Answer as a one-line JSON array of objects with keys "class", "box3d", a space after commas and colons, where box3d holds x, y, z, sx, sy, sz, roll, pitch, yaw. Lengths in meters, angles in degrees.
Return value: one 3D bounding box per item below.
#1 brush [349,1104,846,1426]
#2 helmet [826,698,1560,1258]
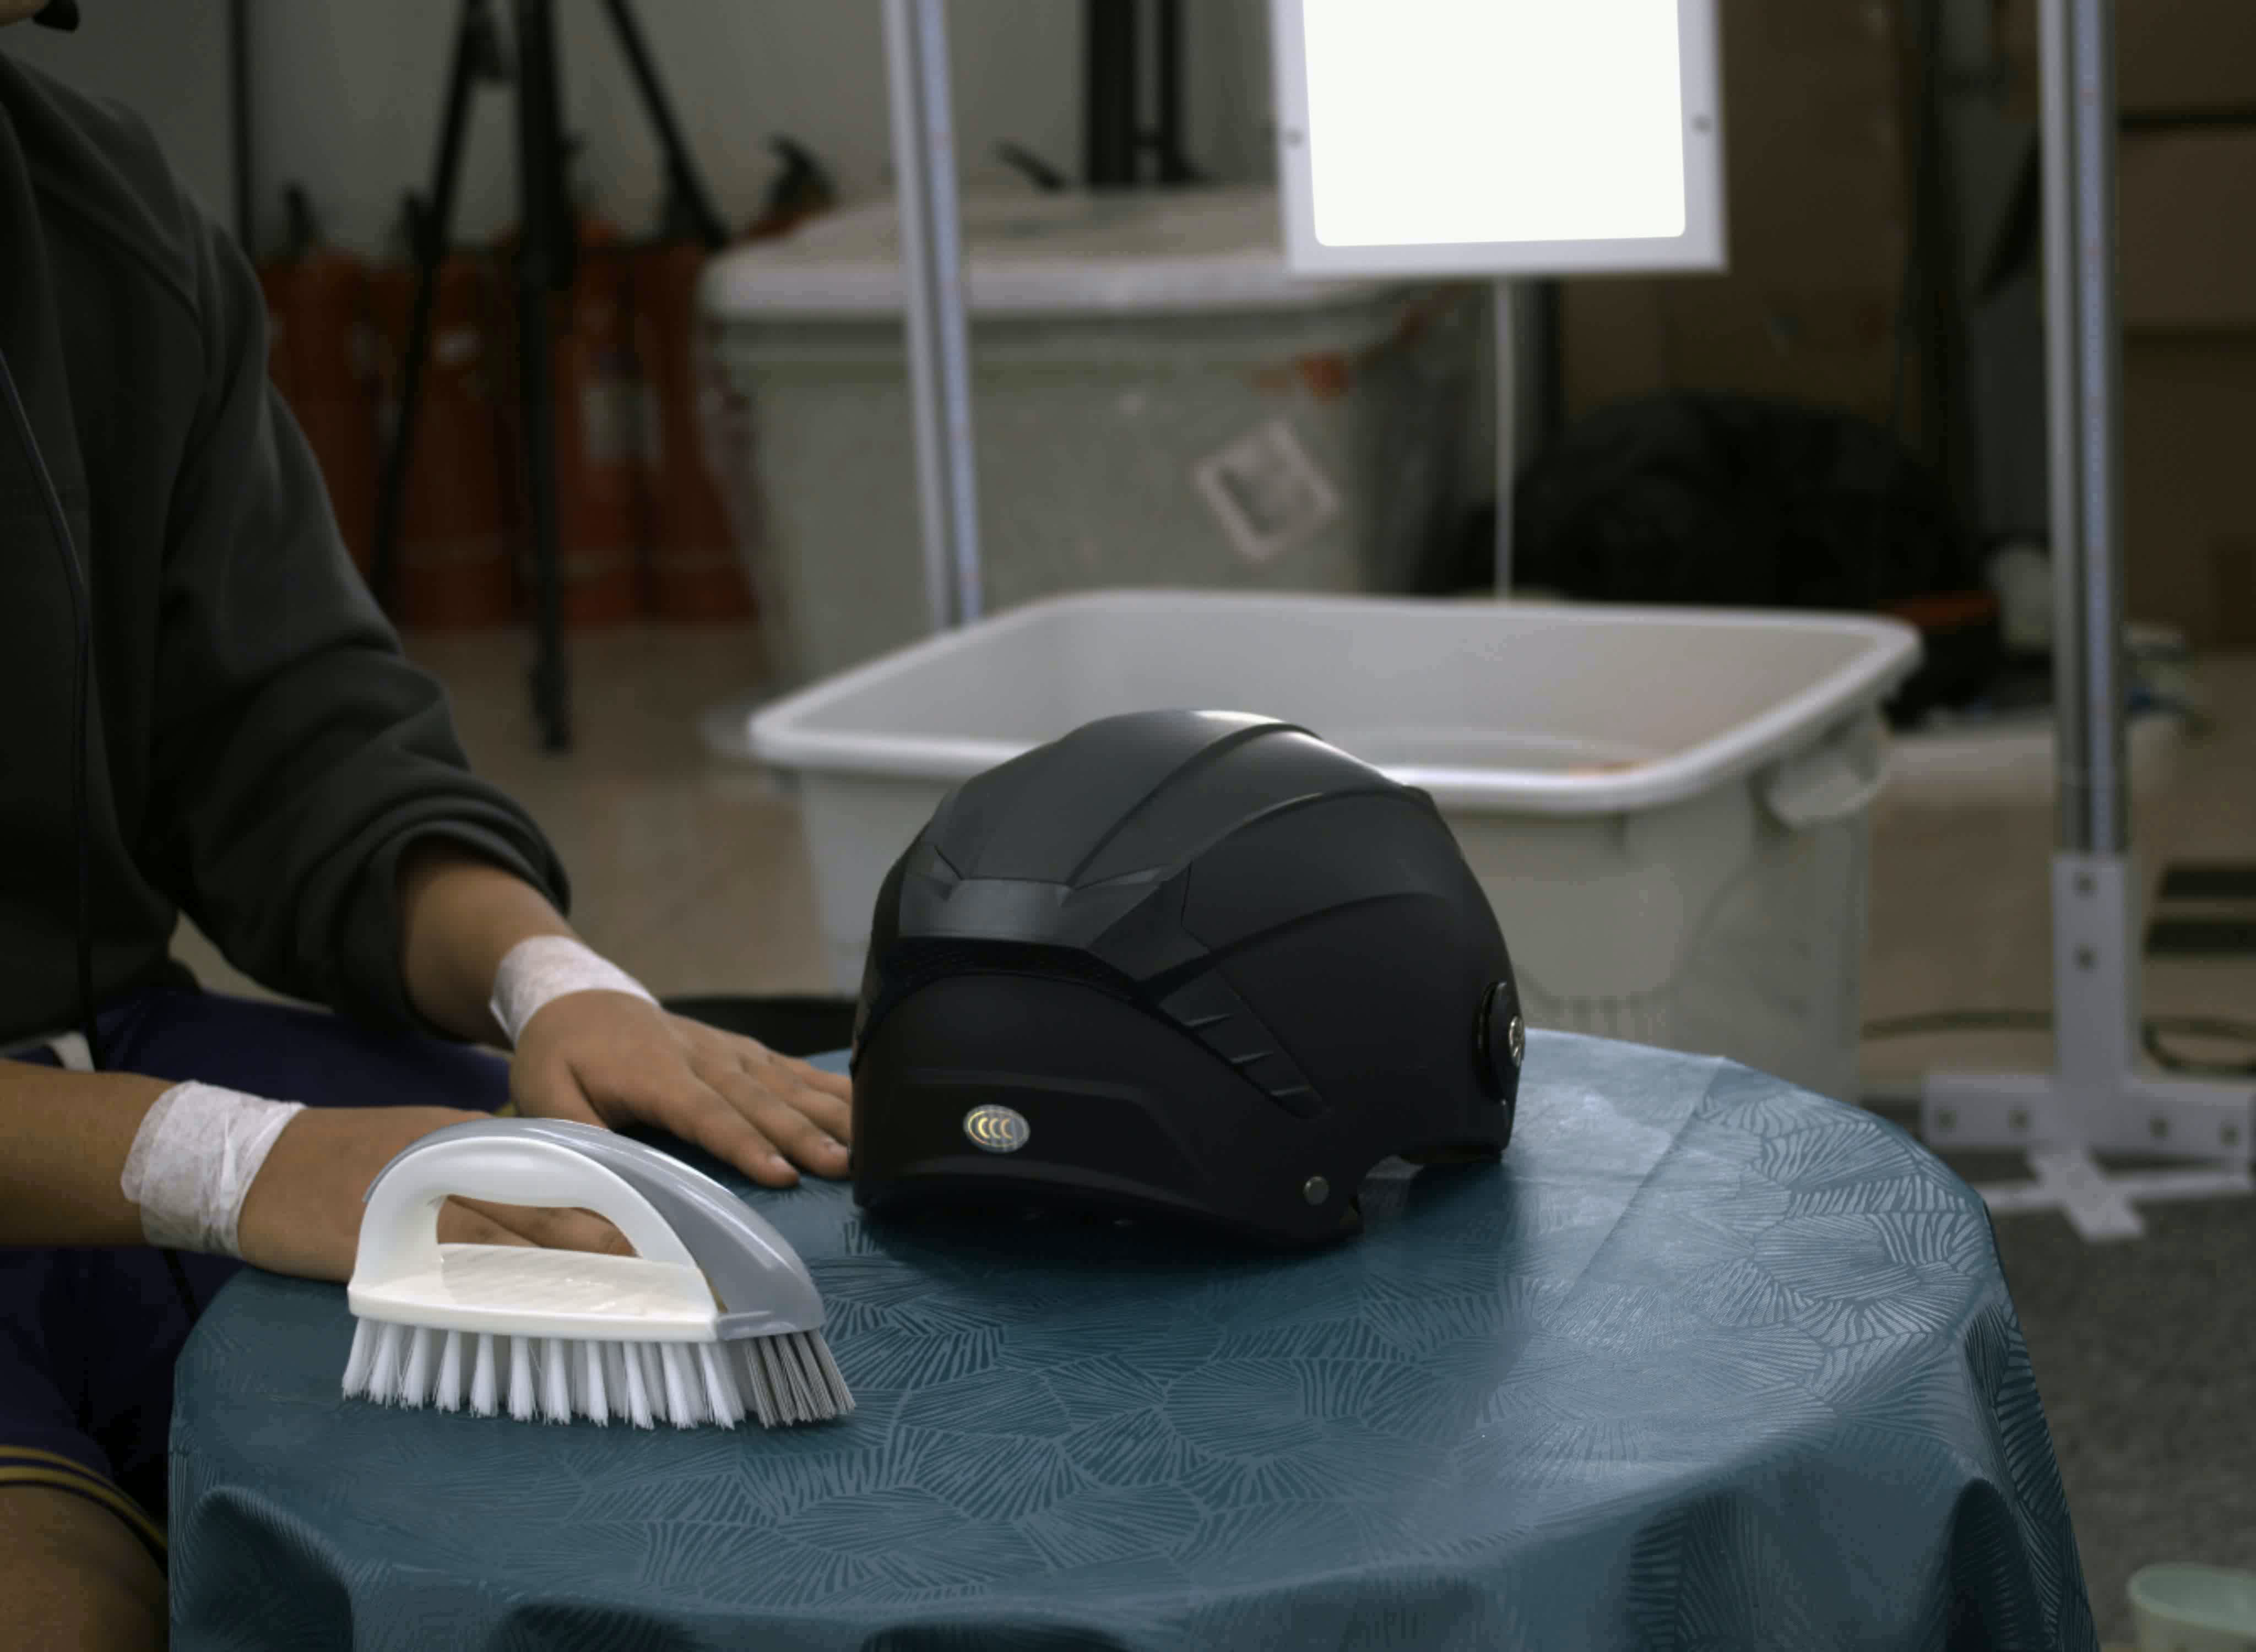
[{"class": "brush", "box3d": [-0.166, 0.135, 1.730, 0.179, 0.094, 0.060, 6, 18, 30]}, {"class": "helmet", "box3d": [0.019, 0.042, 1.901, 0.251, 0.173, 0.270, 4, 20, 30]}]
